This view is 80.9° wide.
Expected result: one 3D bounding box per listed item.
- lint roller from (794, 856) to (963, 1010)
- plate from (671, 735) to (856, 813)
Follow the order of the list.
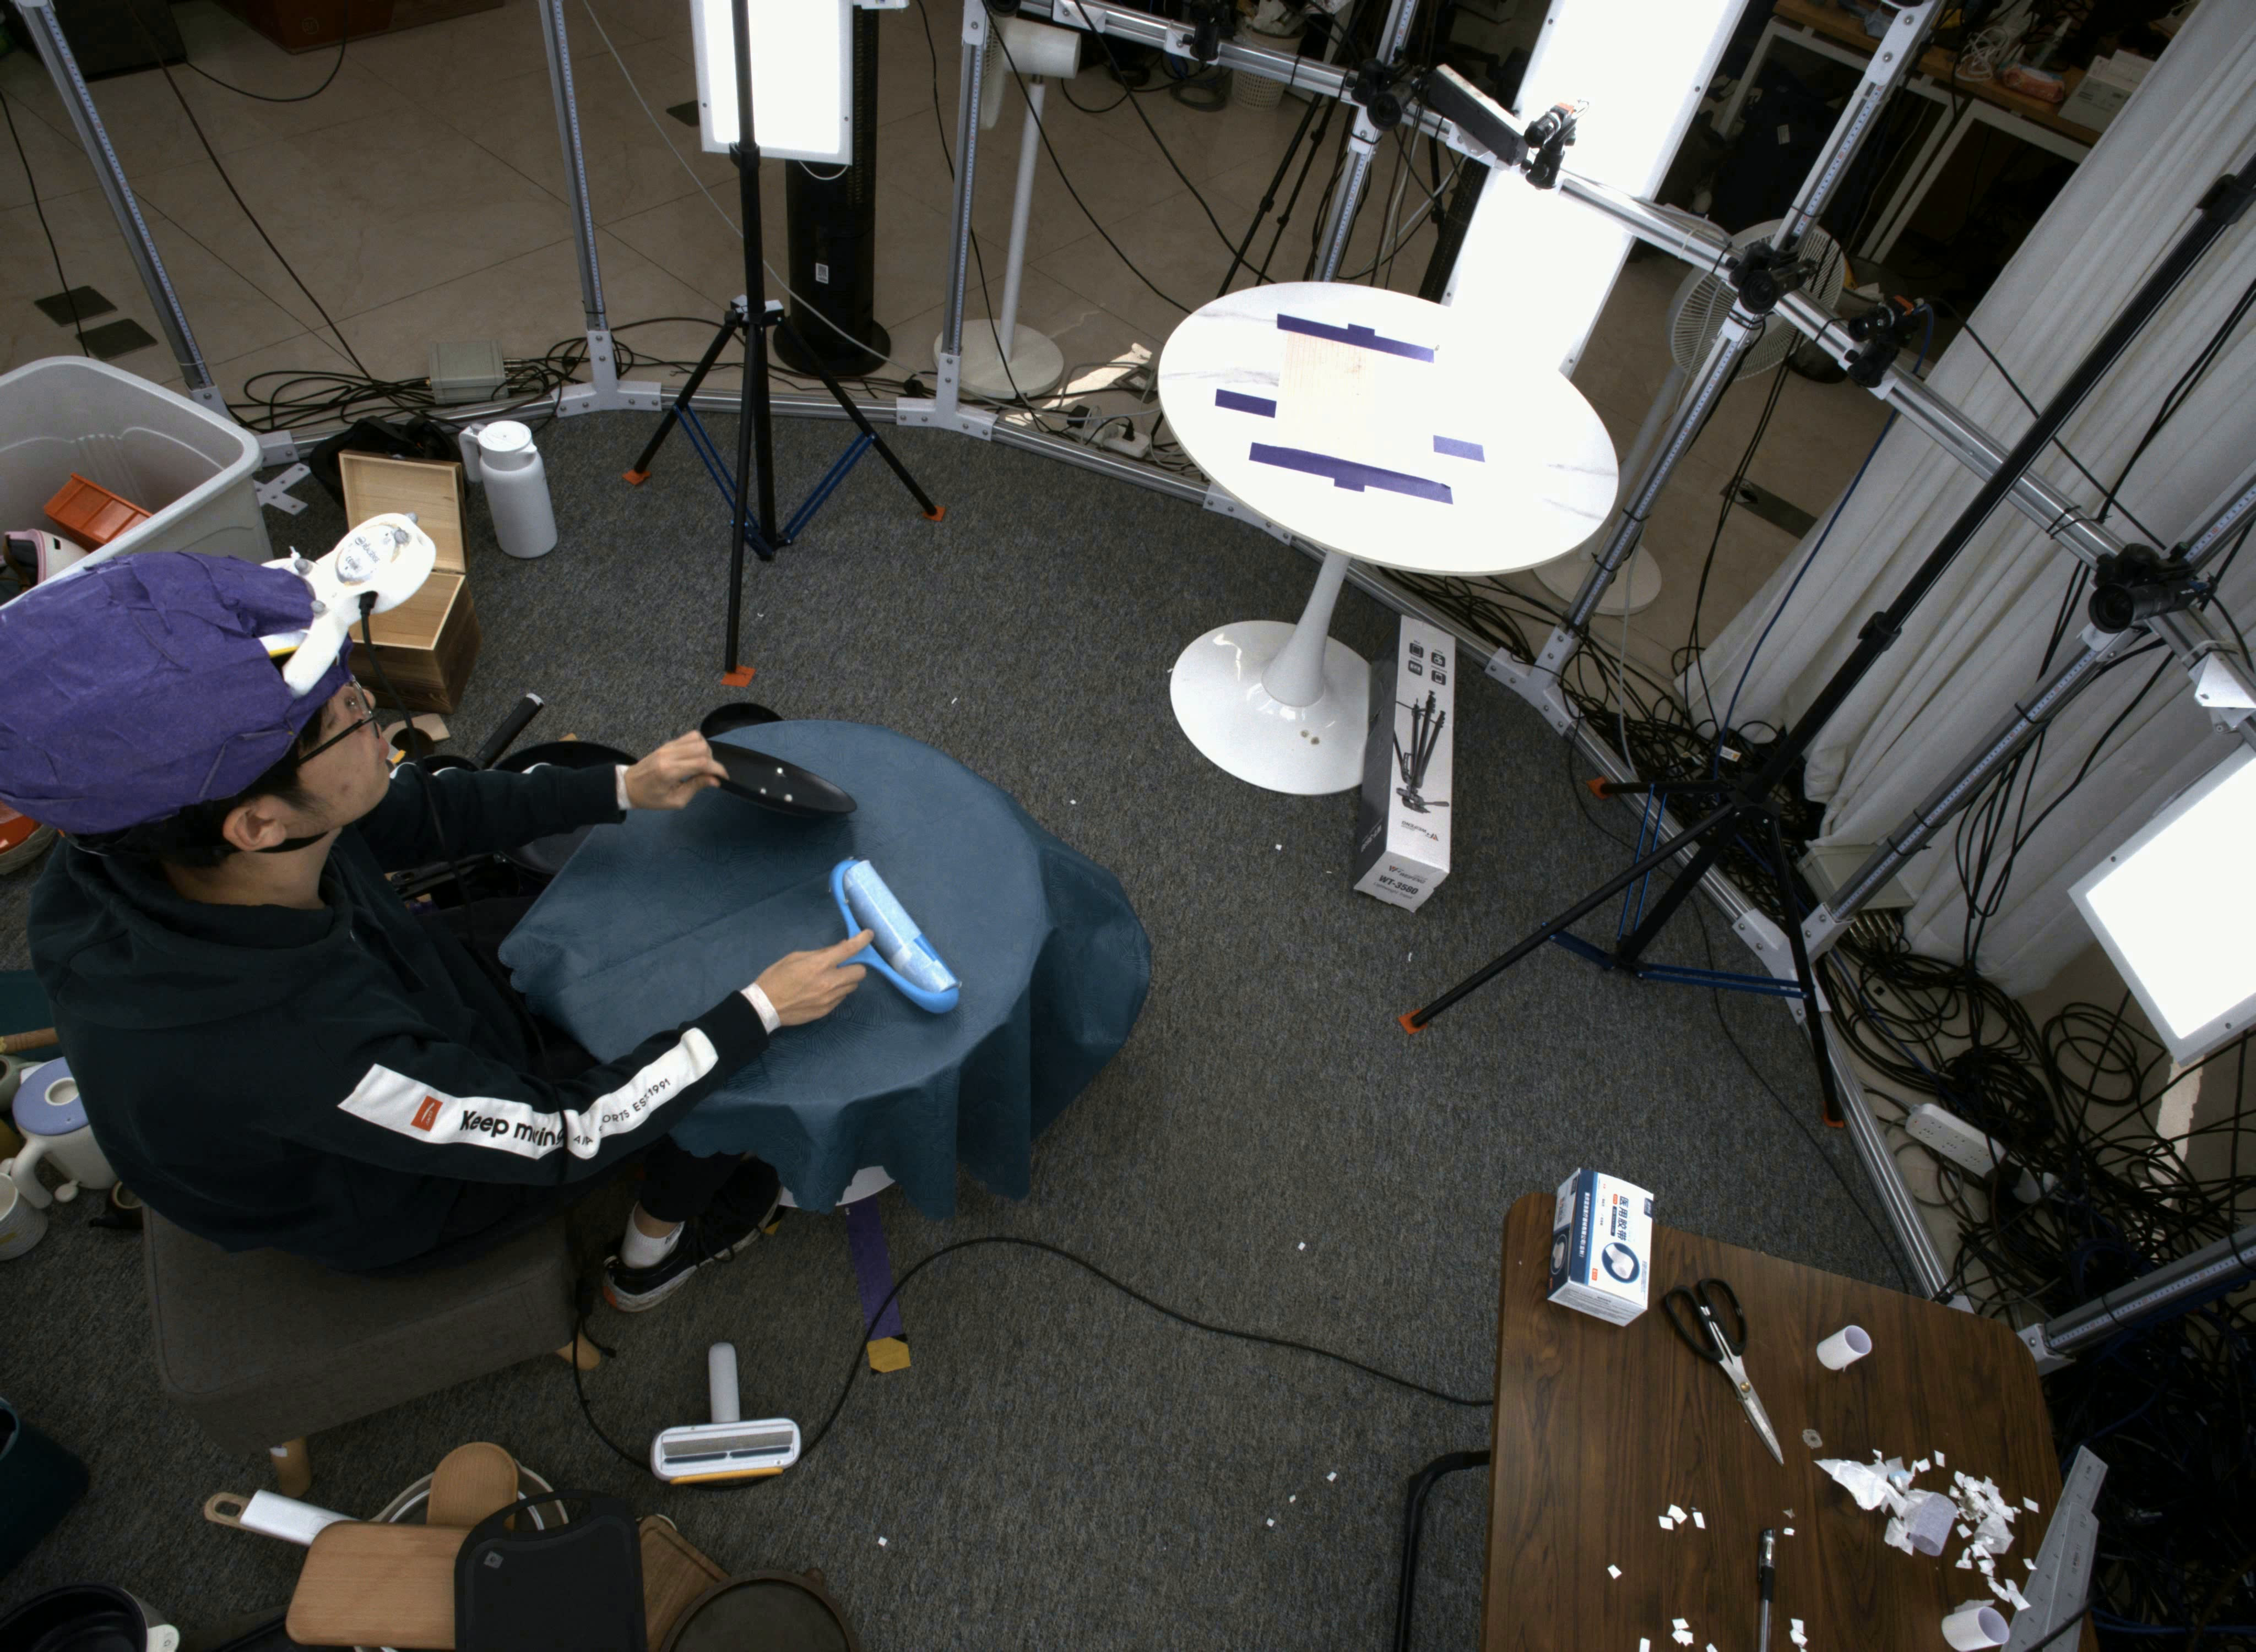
[{"bbox_3d":[-0.323,0.156,1.568,0.180,0.068,0.227,-38,83,-31],"label":"lint roller"},{"bbox_3d":[-0.469,-0.062,1.662,0.243,0.243,0.024,22,96,-1],"label":"plate"}]
